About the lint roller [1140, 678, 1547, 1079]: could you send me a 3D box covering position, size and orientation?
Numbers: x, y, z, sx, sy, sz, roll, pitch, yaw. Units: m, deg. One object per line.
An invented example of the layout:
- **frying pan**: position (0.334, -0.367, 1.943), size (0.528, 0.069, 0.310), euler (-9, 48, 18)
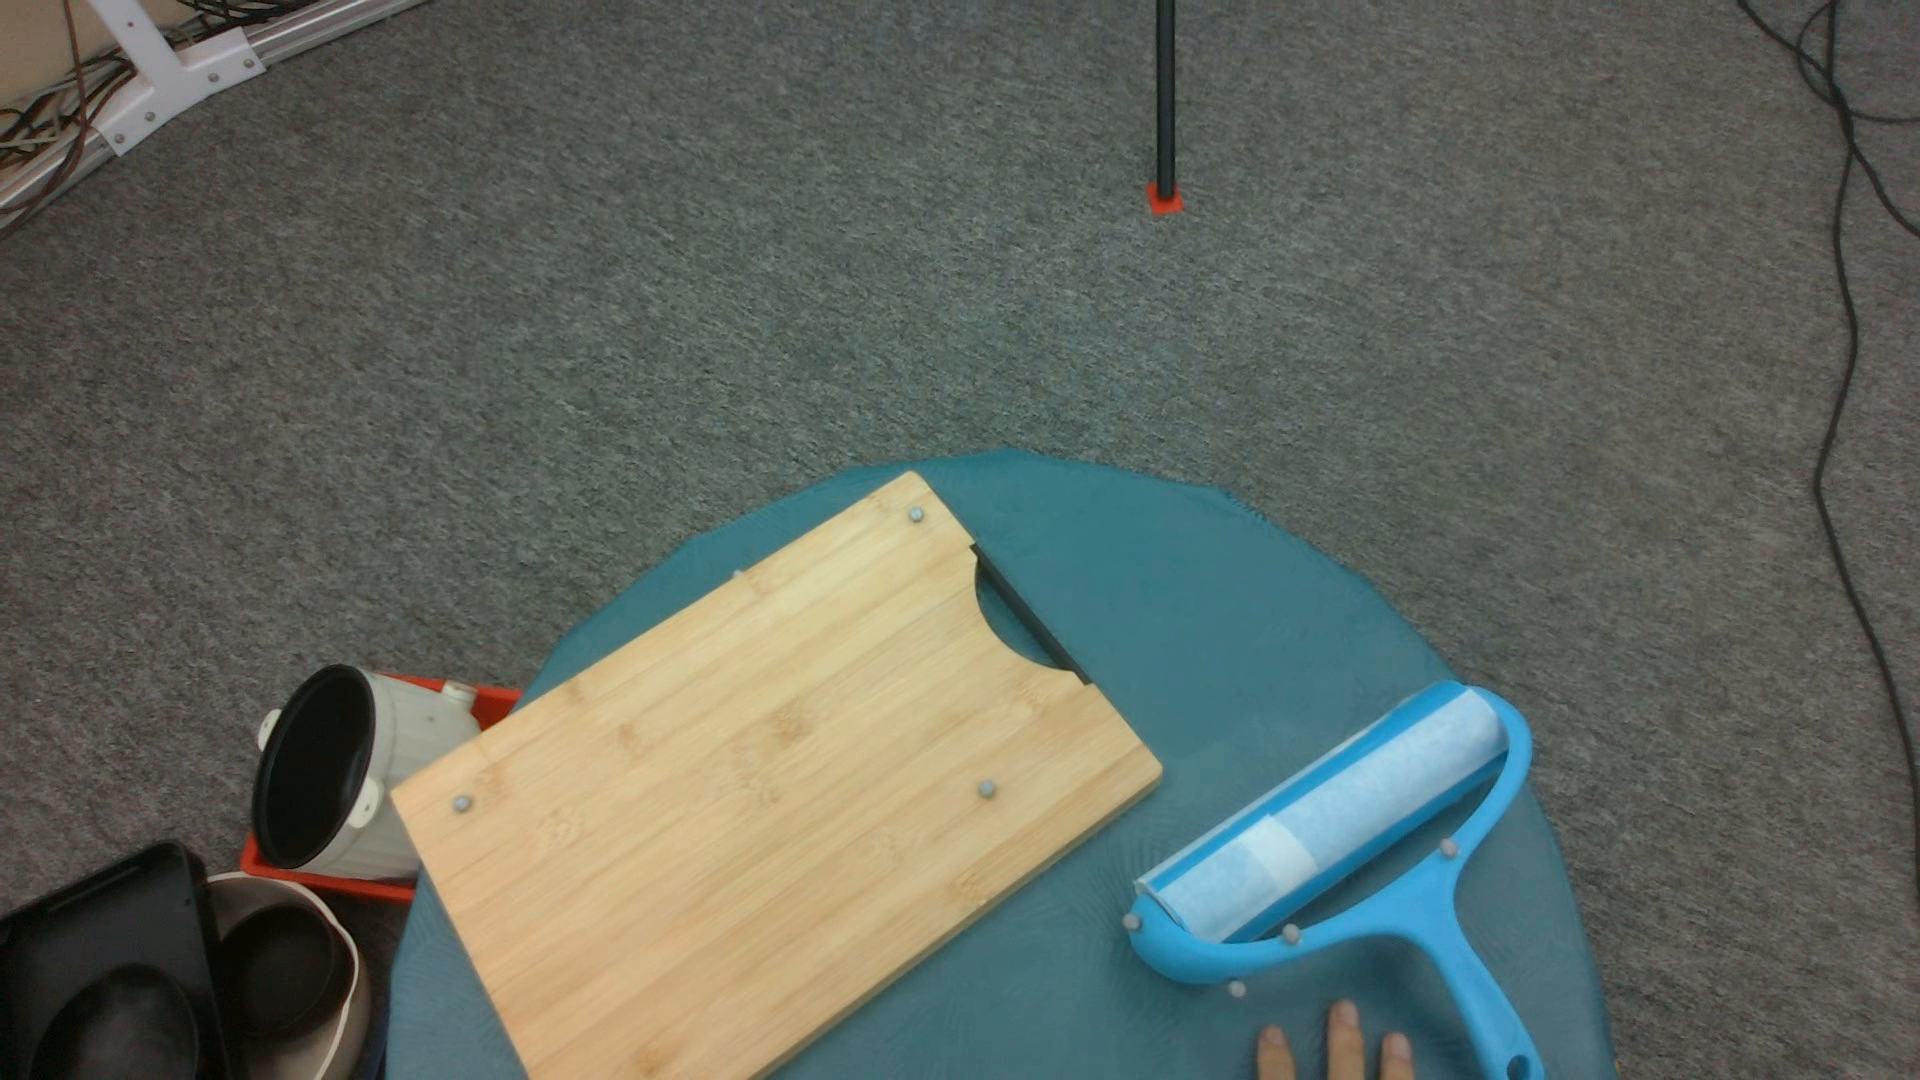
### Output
- **lint roller**: position (0.222, 0.182, 0.669), size (0.229, 0.067, 0.180), euler (-31, 60, -14)

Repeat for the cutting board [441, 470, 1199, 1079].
- **cutting board**: position (-0.083, 0.131, 0.752), size (0.349, 0.023, 0.251), euler (-33, 62, -14)
